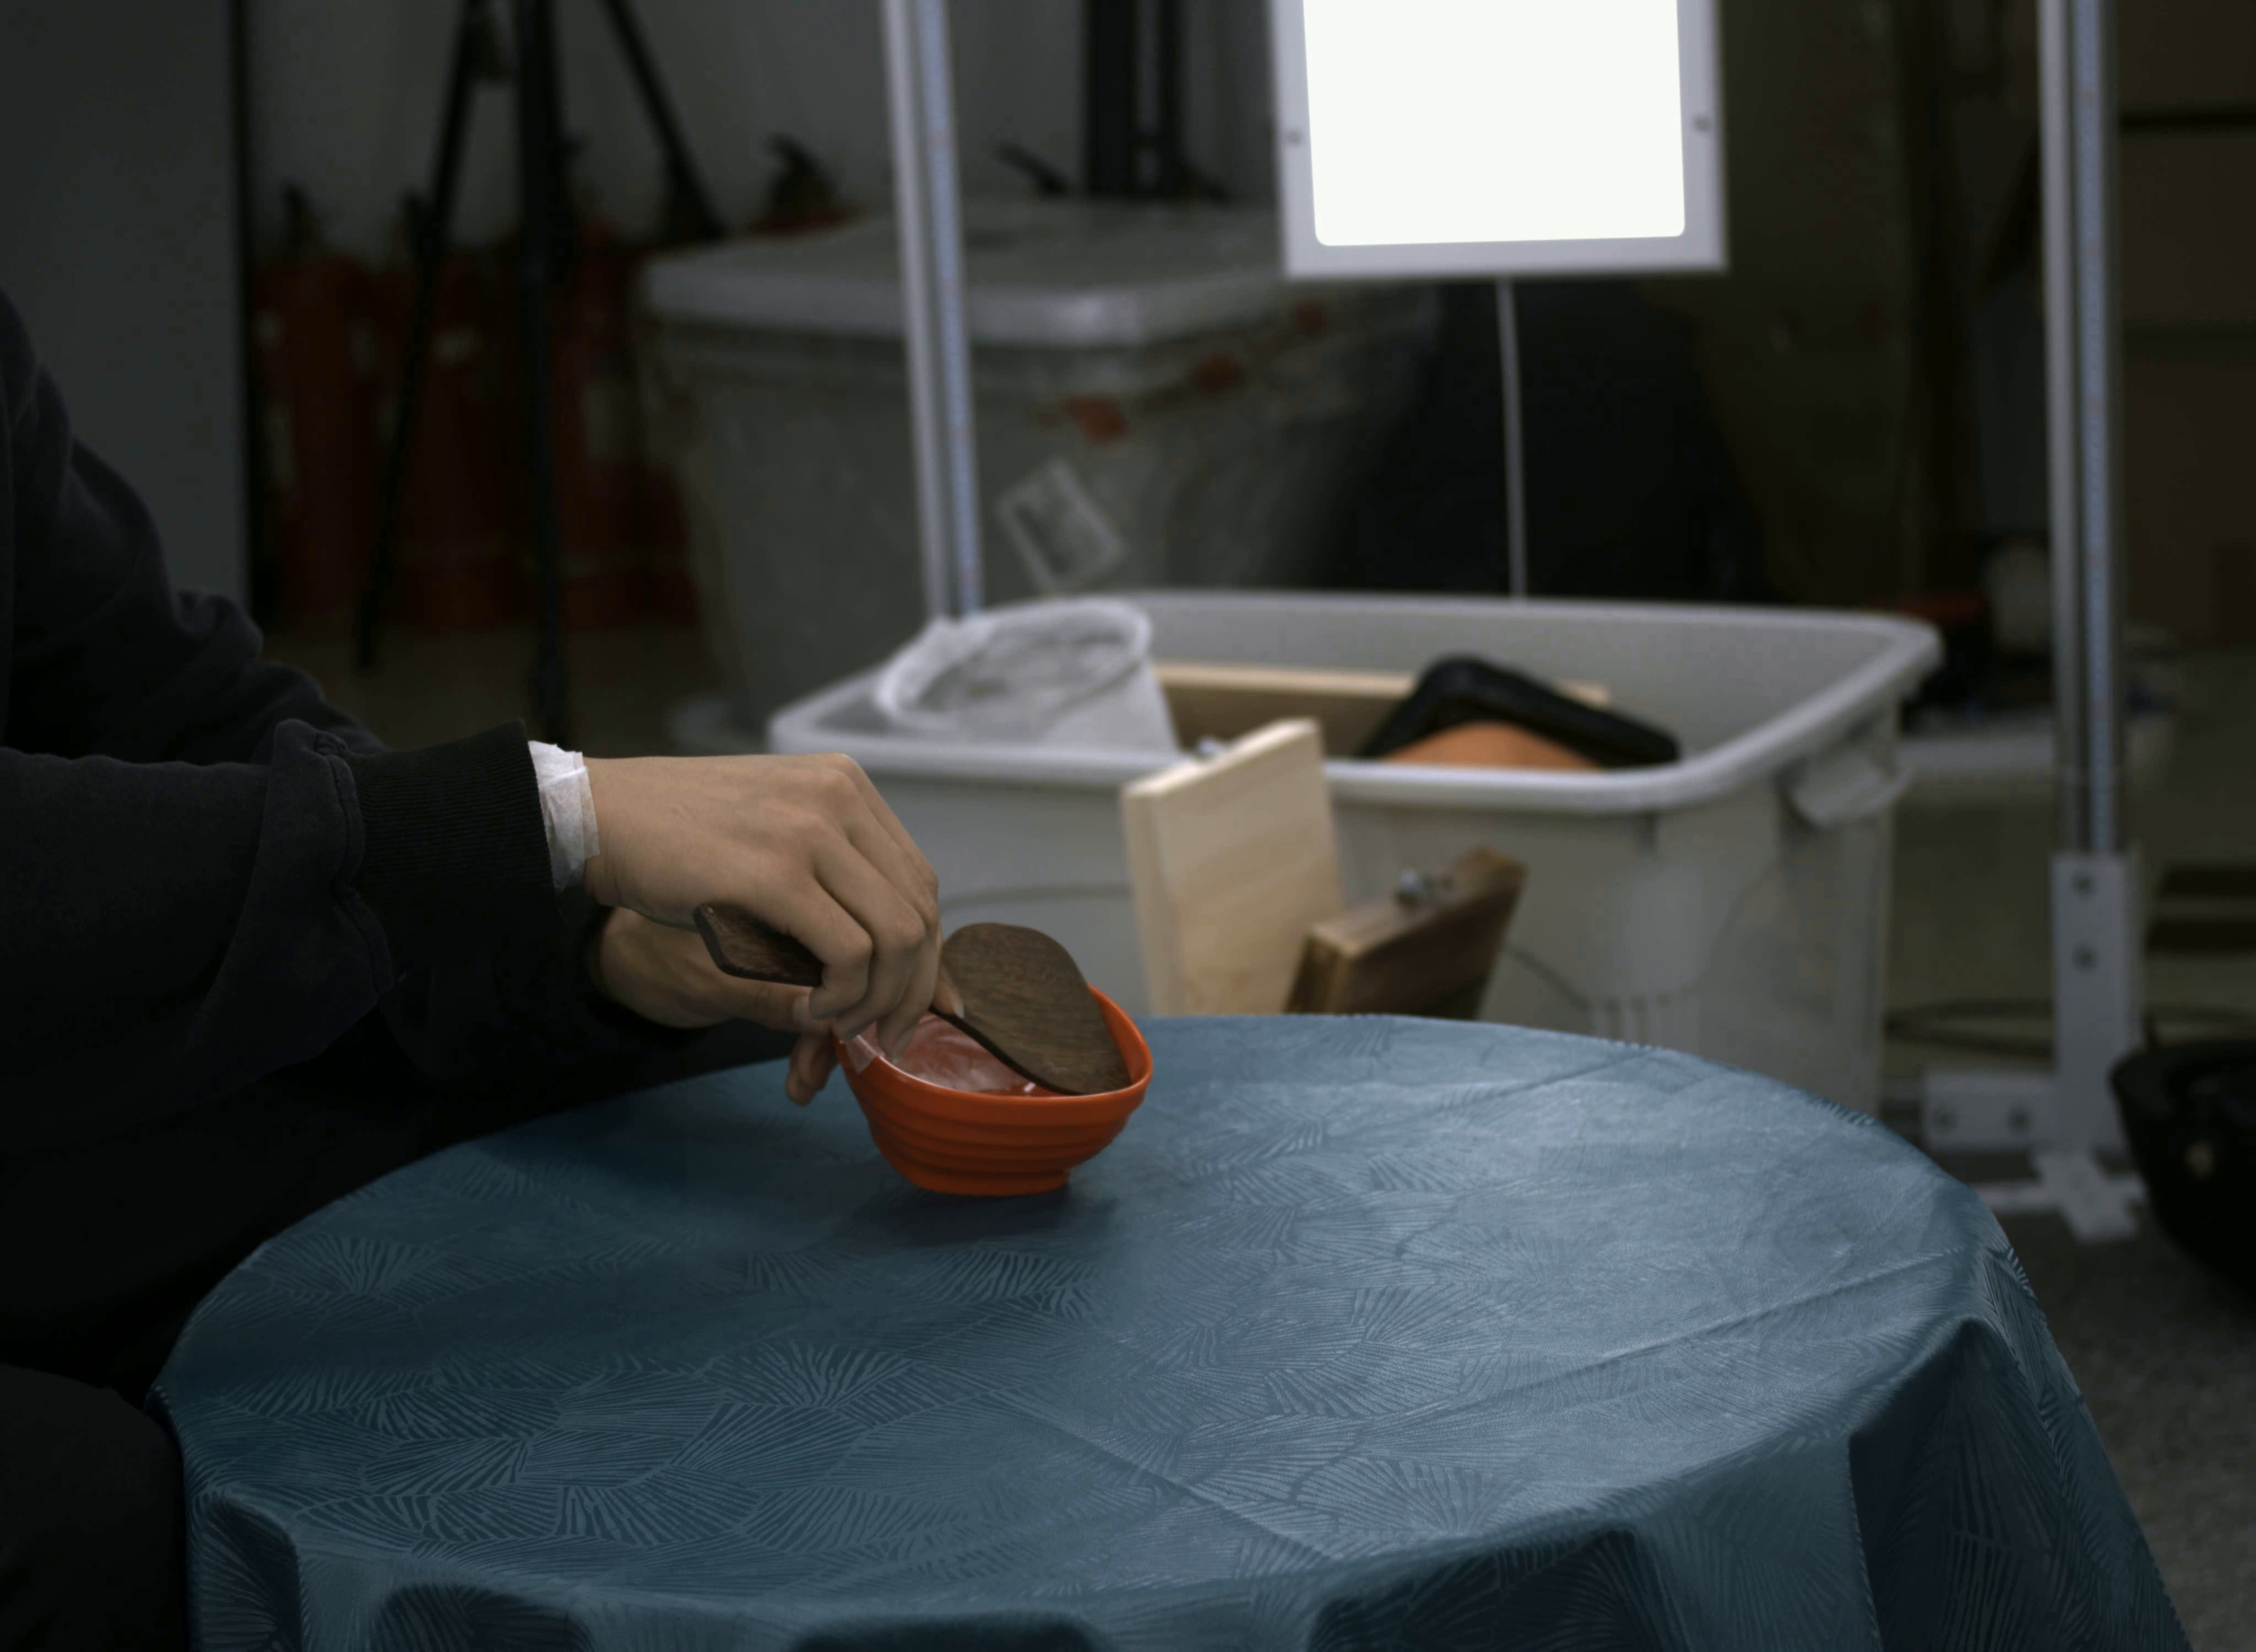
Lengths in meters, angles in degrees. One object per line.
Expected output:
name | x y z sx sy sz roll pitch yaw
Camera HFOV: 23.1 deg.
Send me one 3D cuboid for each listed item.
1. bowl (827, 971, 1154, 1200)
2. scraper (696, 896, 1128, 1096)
bowl | -0.052 0.091 1.915 0.118 0.052 0.118 9 25 -6
scraper | -0.074 0.050 1.849 0.011 0.076 0.206 -40 -31 24
